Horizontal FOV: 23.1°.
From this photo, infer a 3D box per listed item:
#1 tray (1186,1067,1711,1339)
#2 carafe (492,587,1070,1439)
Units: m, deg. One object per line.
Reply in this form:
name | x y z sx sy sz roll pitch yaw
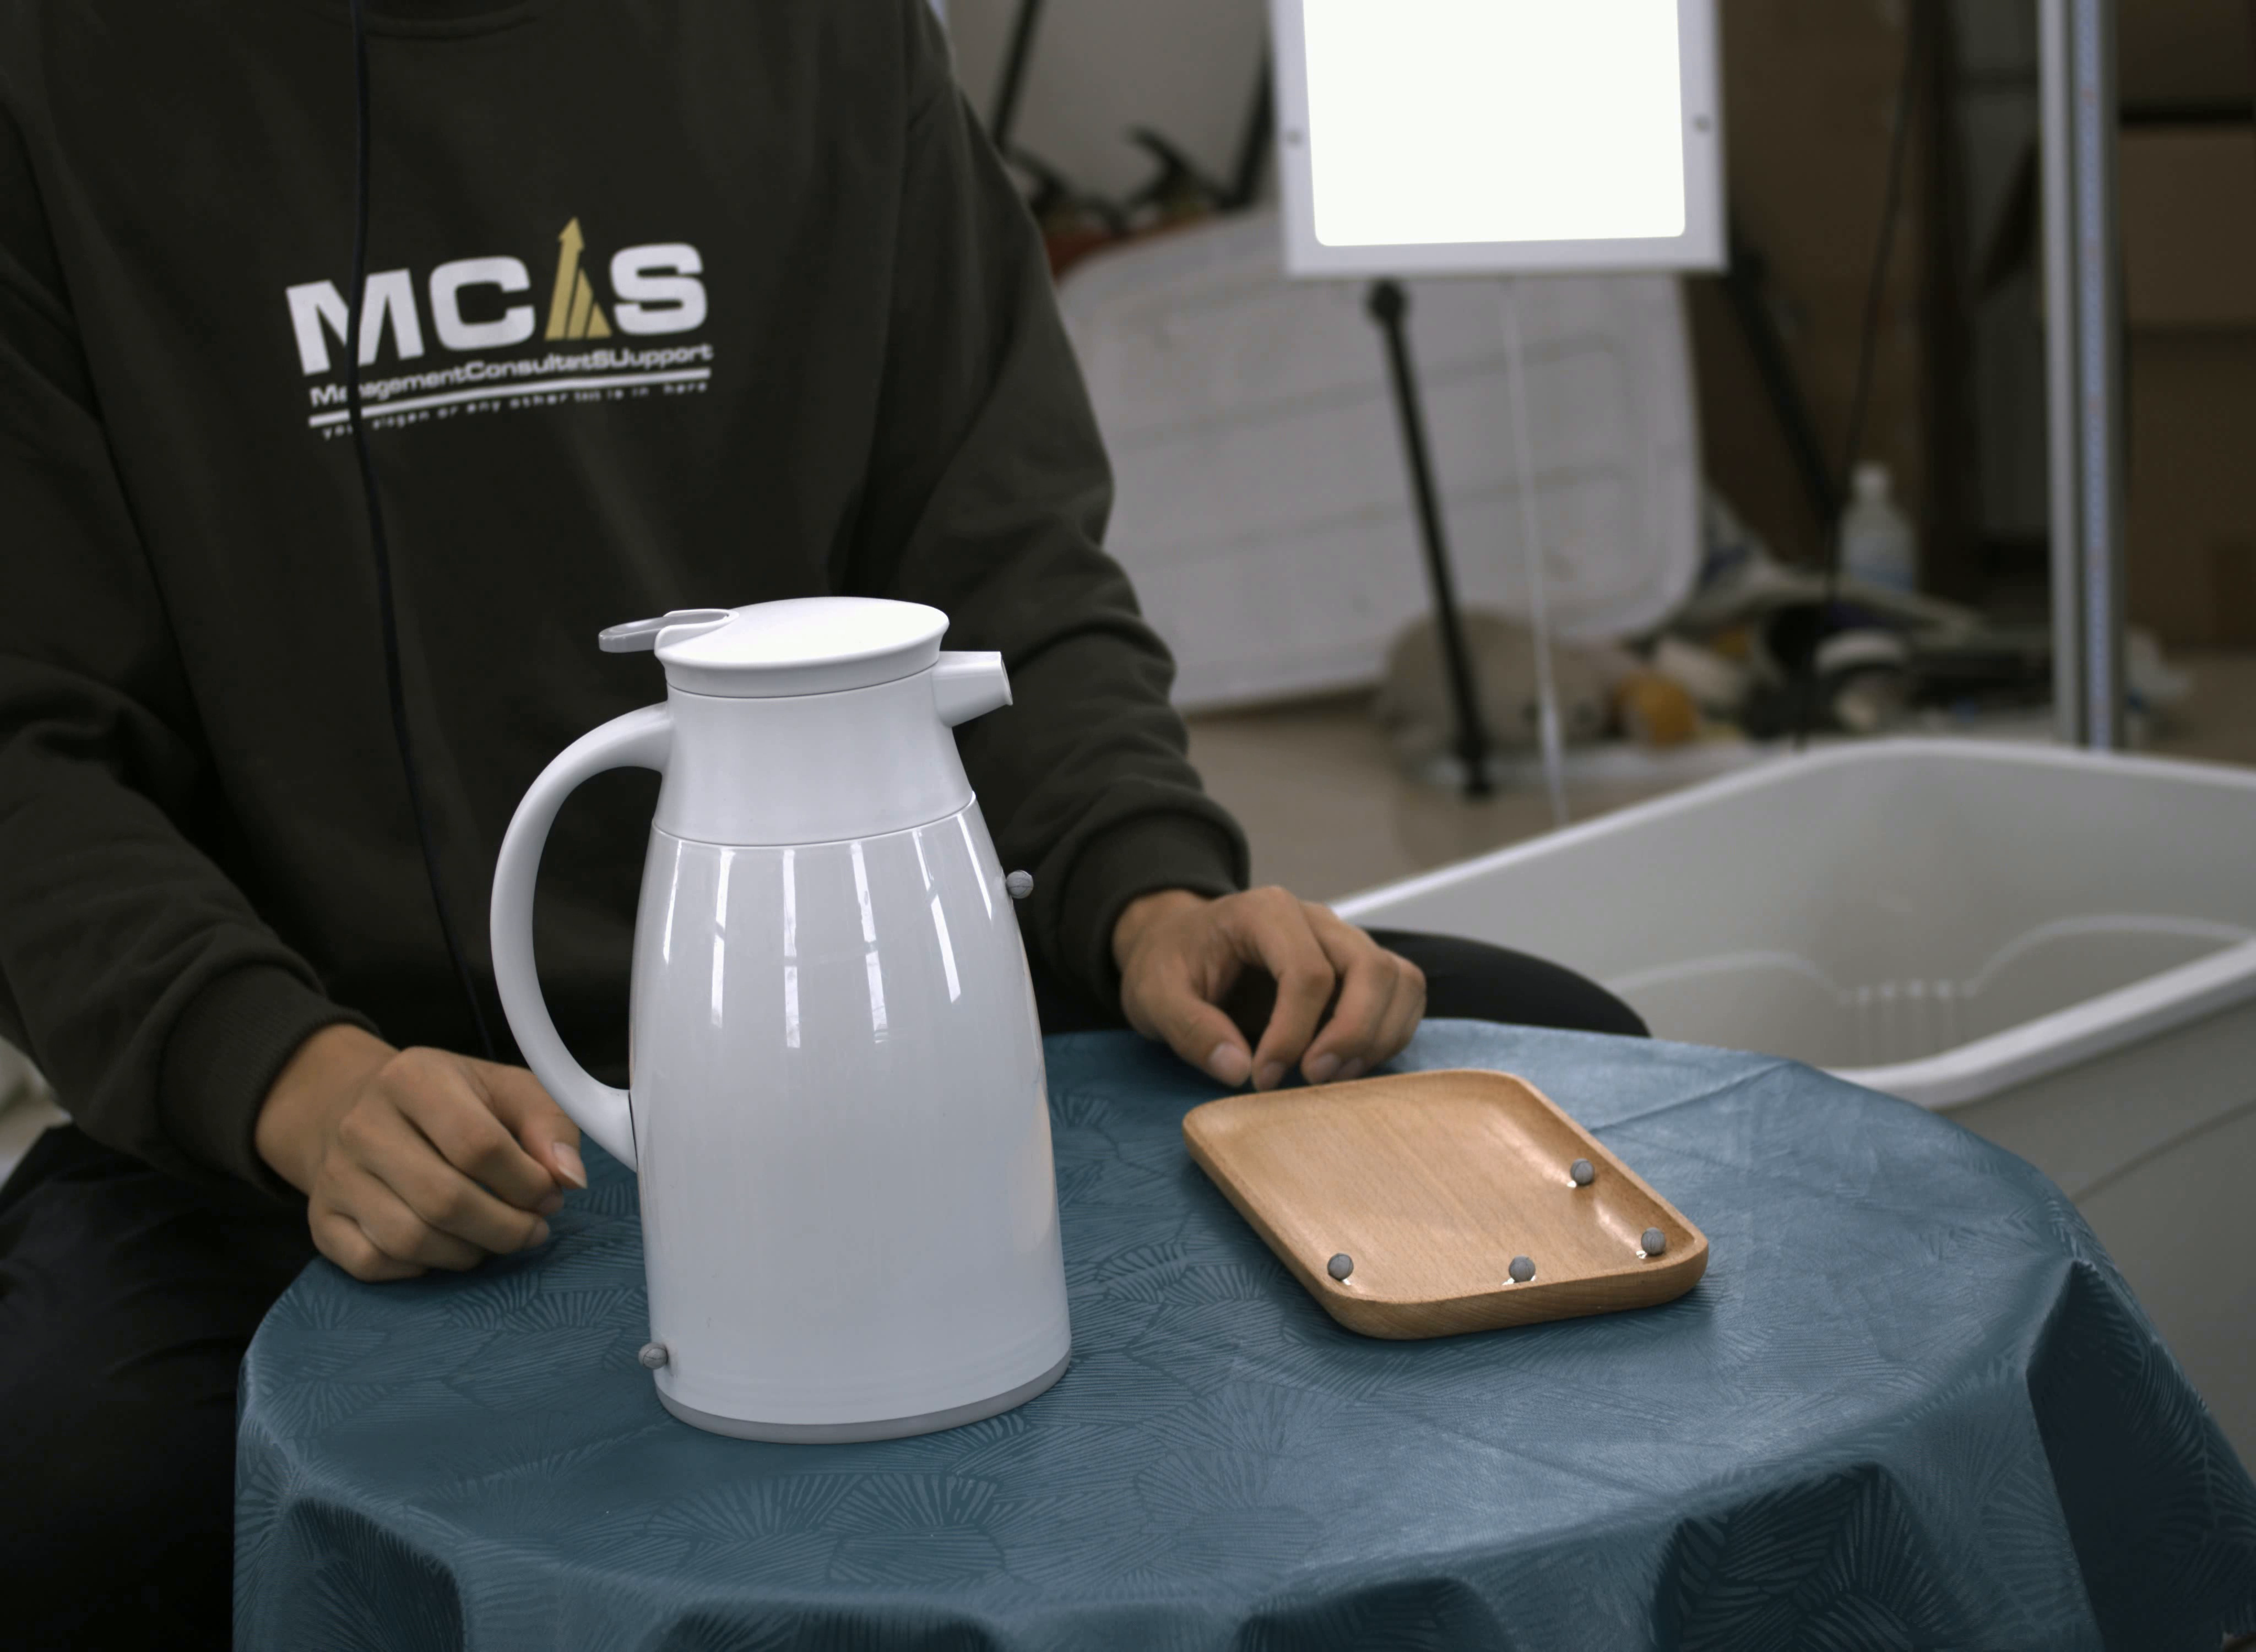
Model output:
tray | 0.104 0.124 1.840 0.129 0.023 0.252 -5 12 -10
carafe | -0.111 0.053 1.708 0.167 0.249 0.132 -5 14 0
